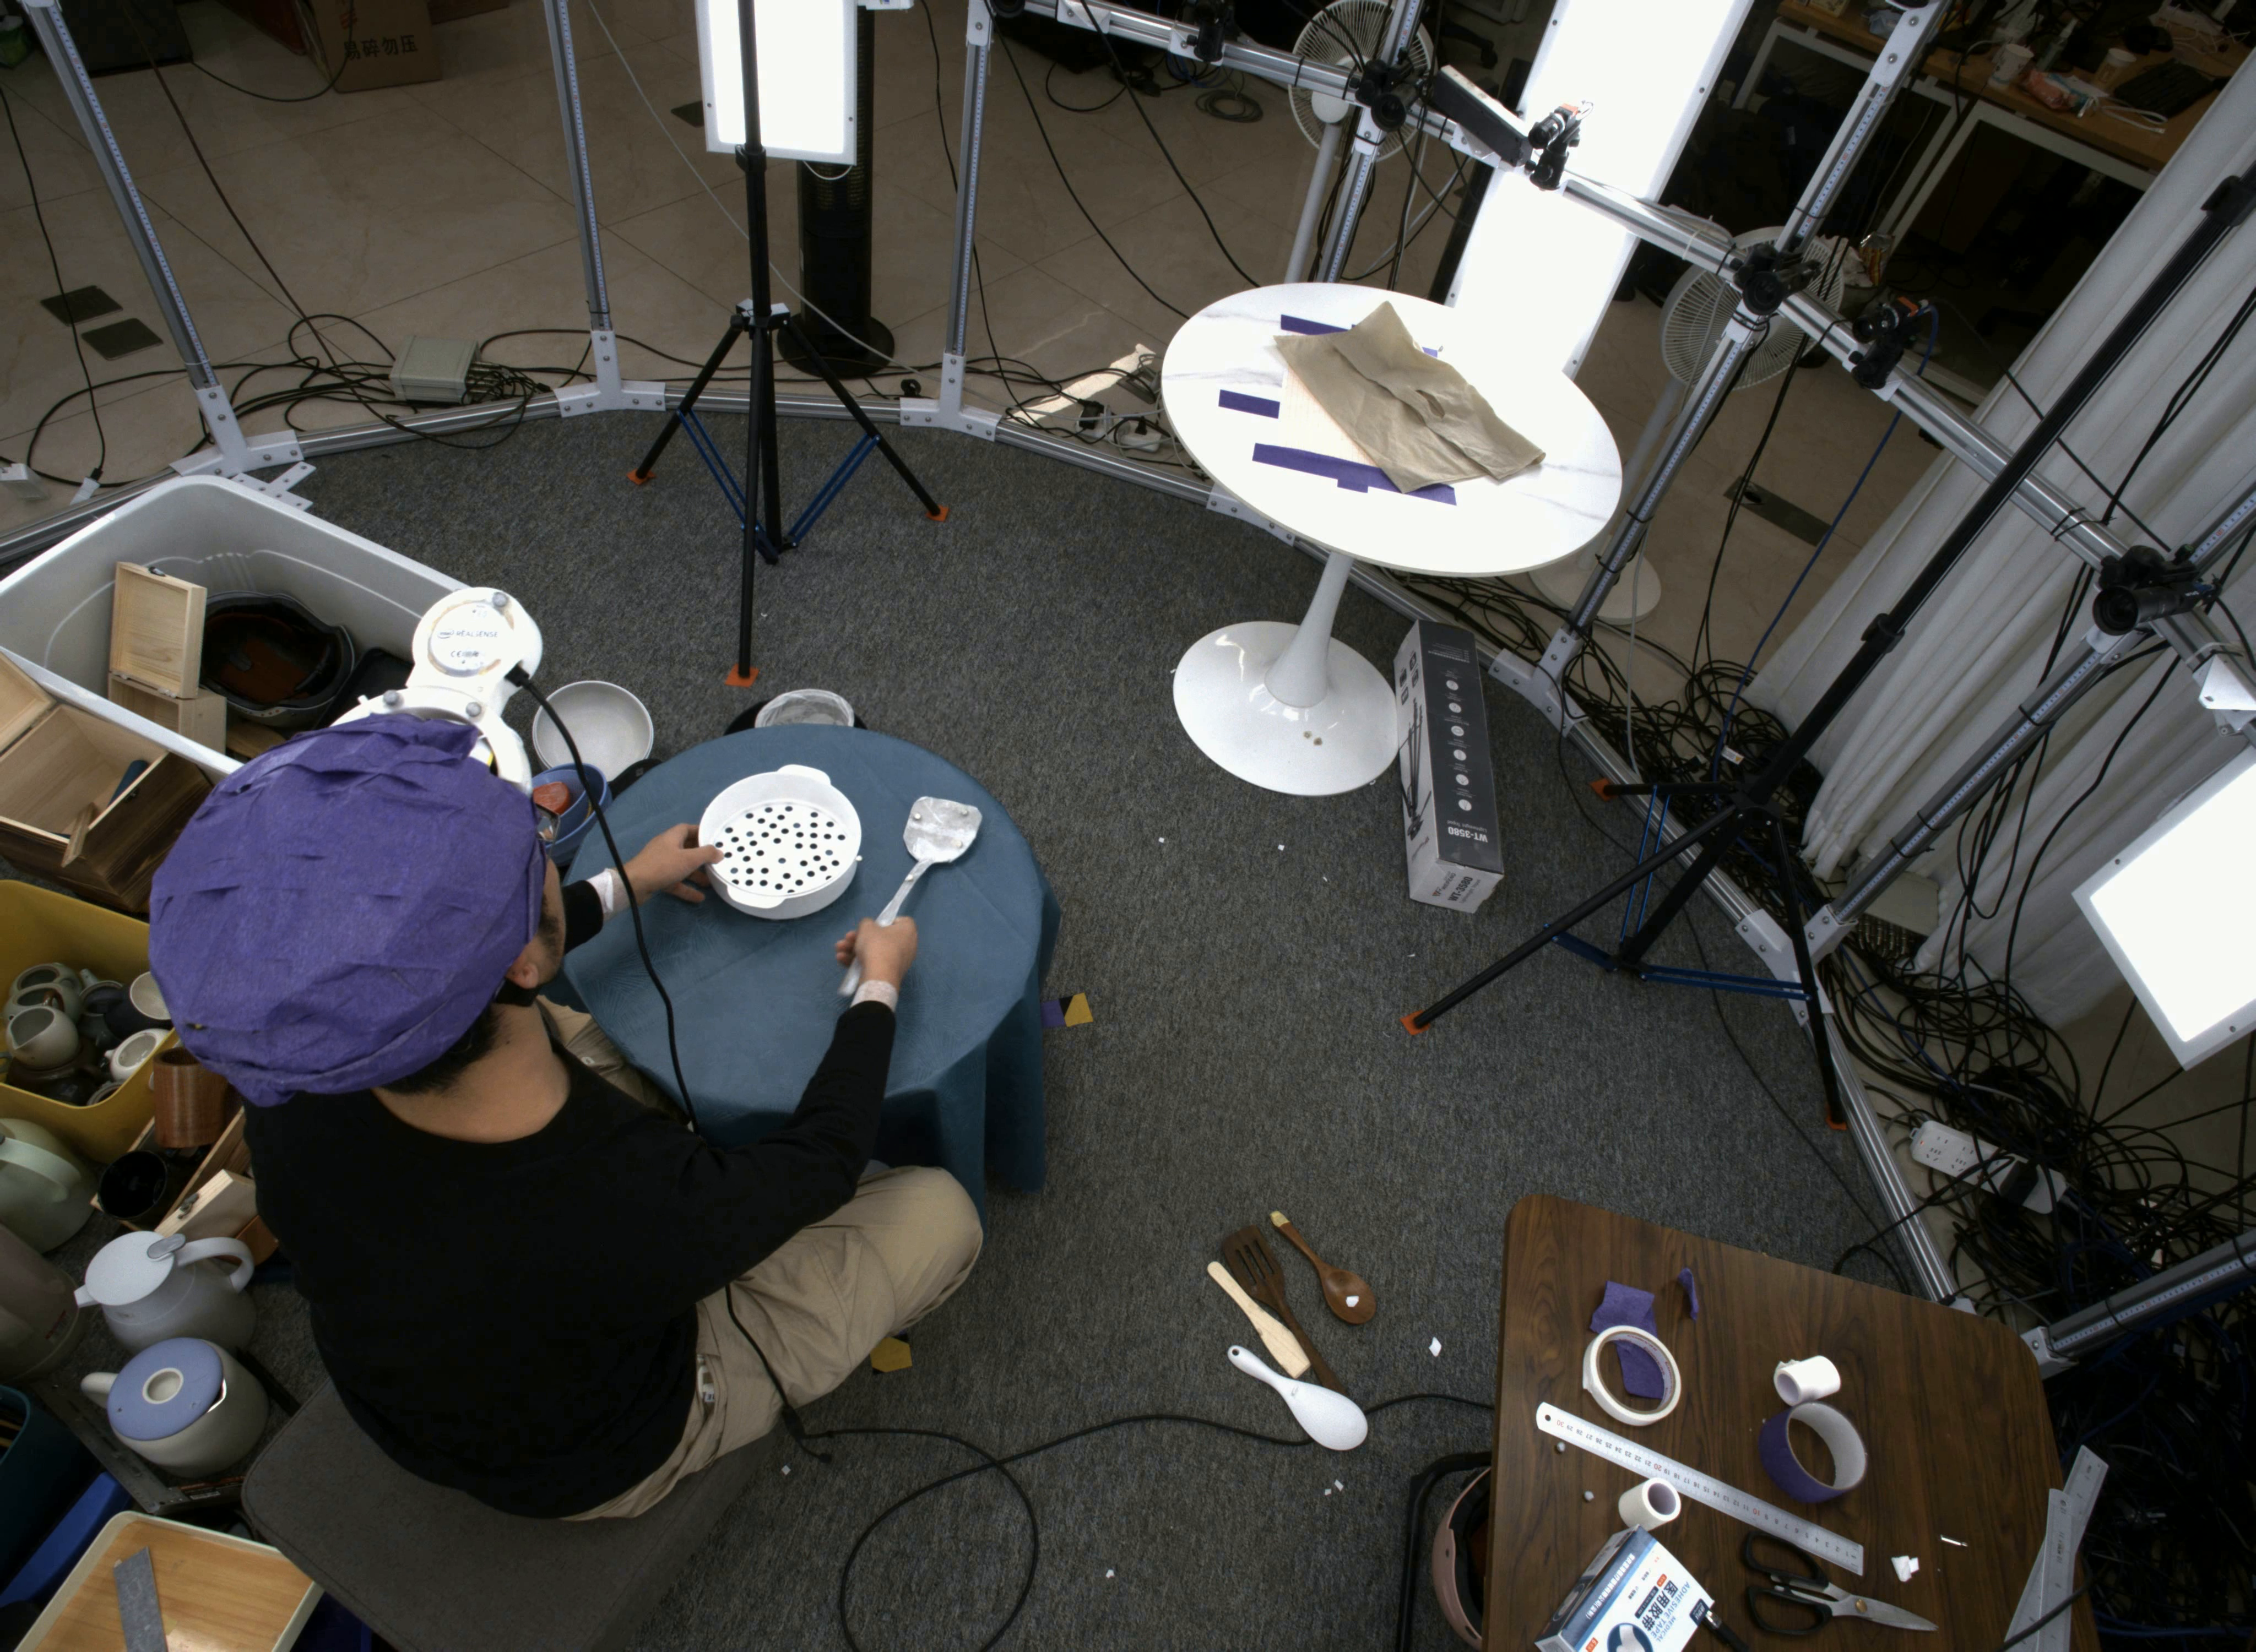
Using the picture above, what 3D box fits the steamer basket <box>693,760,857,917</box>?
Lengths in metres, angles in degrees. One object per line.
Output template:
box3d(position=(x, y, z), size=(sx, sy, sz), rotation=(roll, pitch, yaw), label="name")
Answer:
box3d(position=(-0.448, 0.021, 1.652), size=(0.200, 0.070, 0.227), rotation=(13, 52, -3), label="steamer basket")

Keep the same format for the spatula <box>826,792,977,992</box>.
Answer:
box3d(position=(-0.293, 0.077, 1.639), size=(0.097, 0.046, 0.361), rotation=(18, 37, 4), label="spatula")
